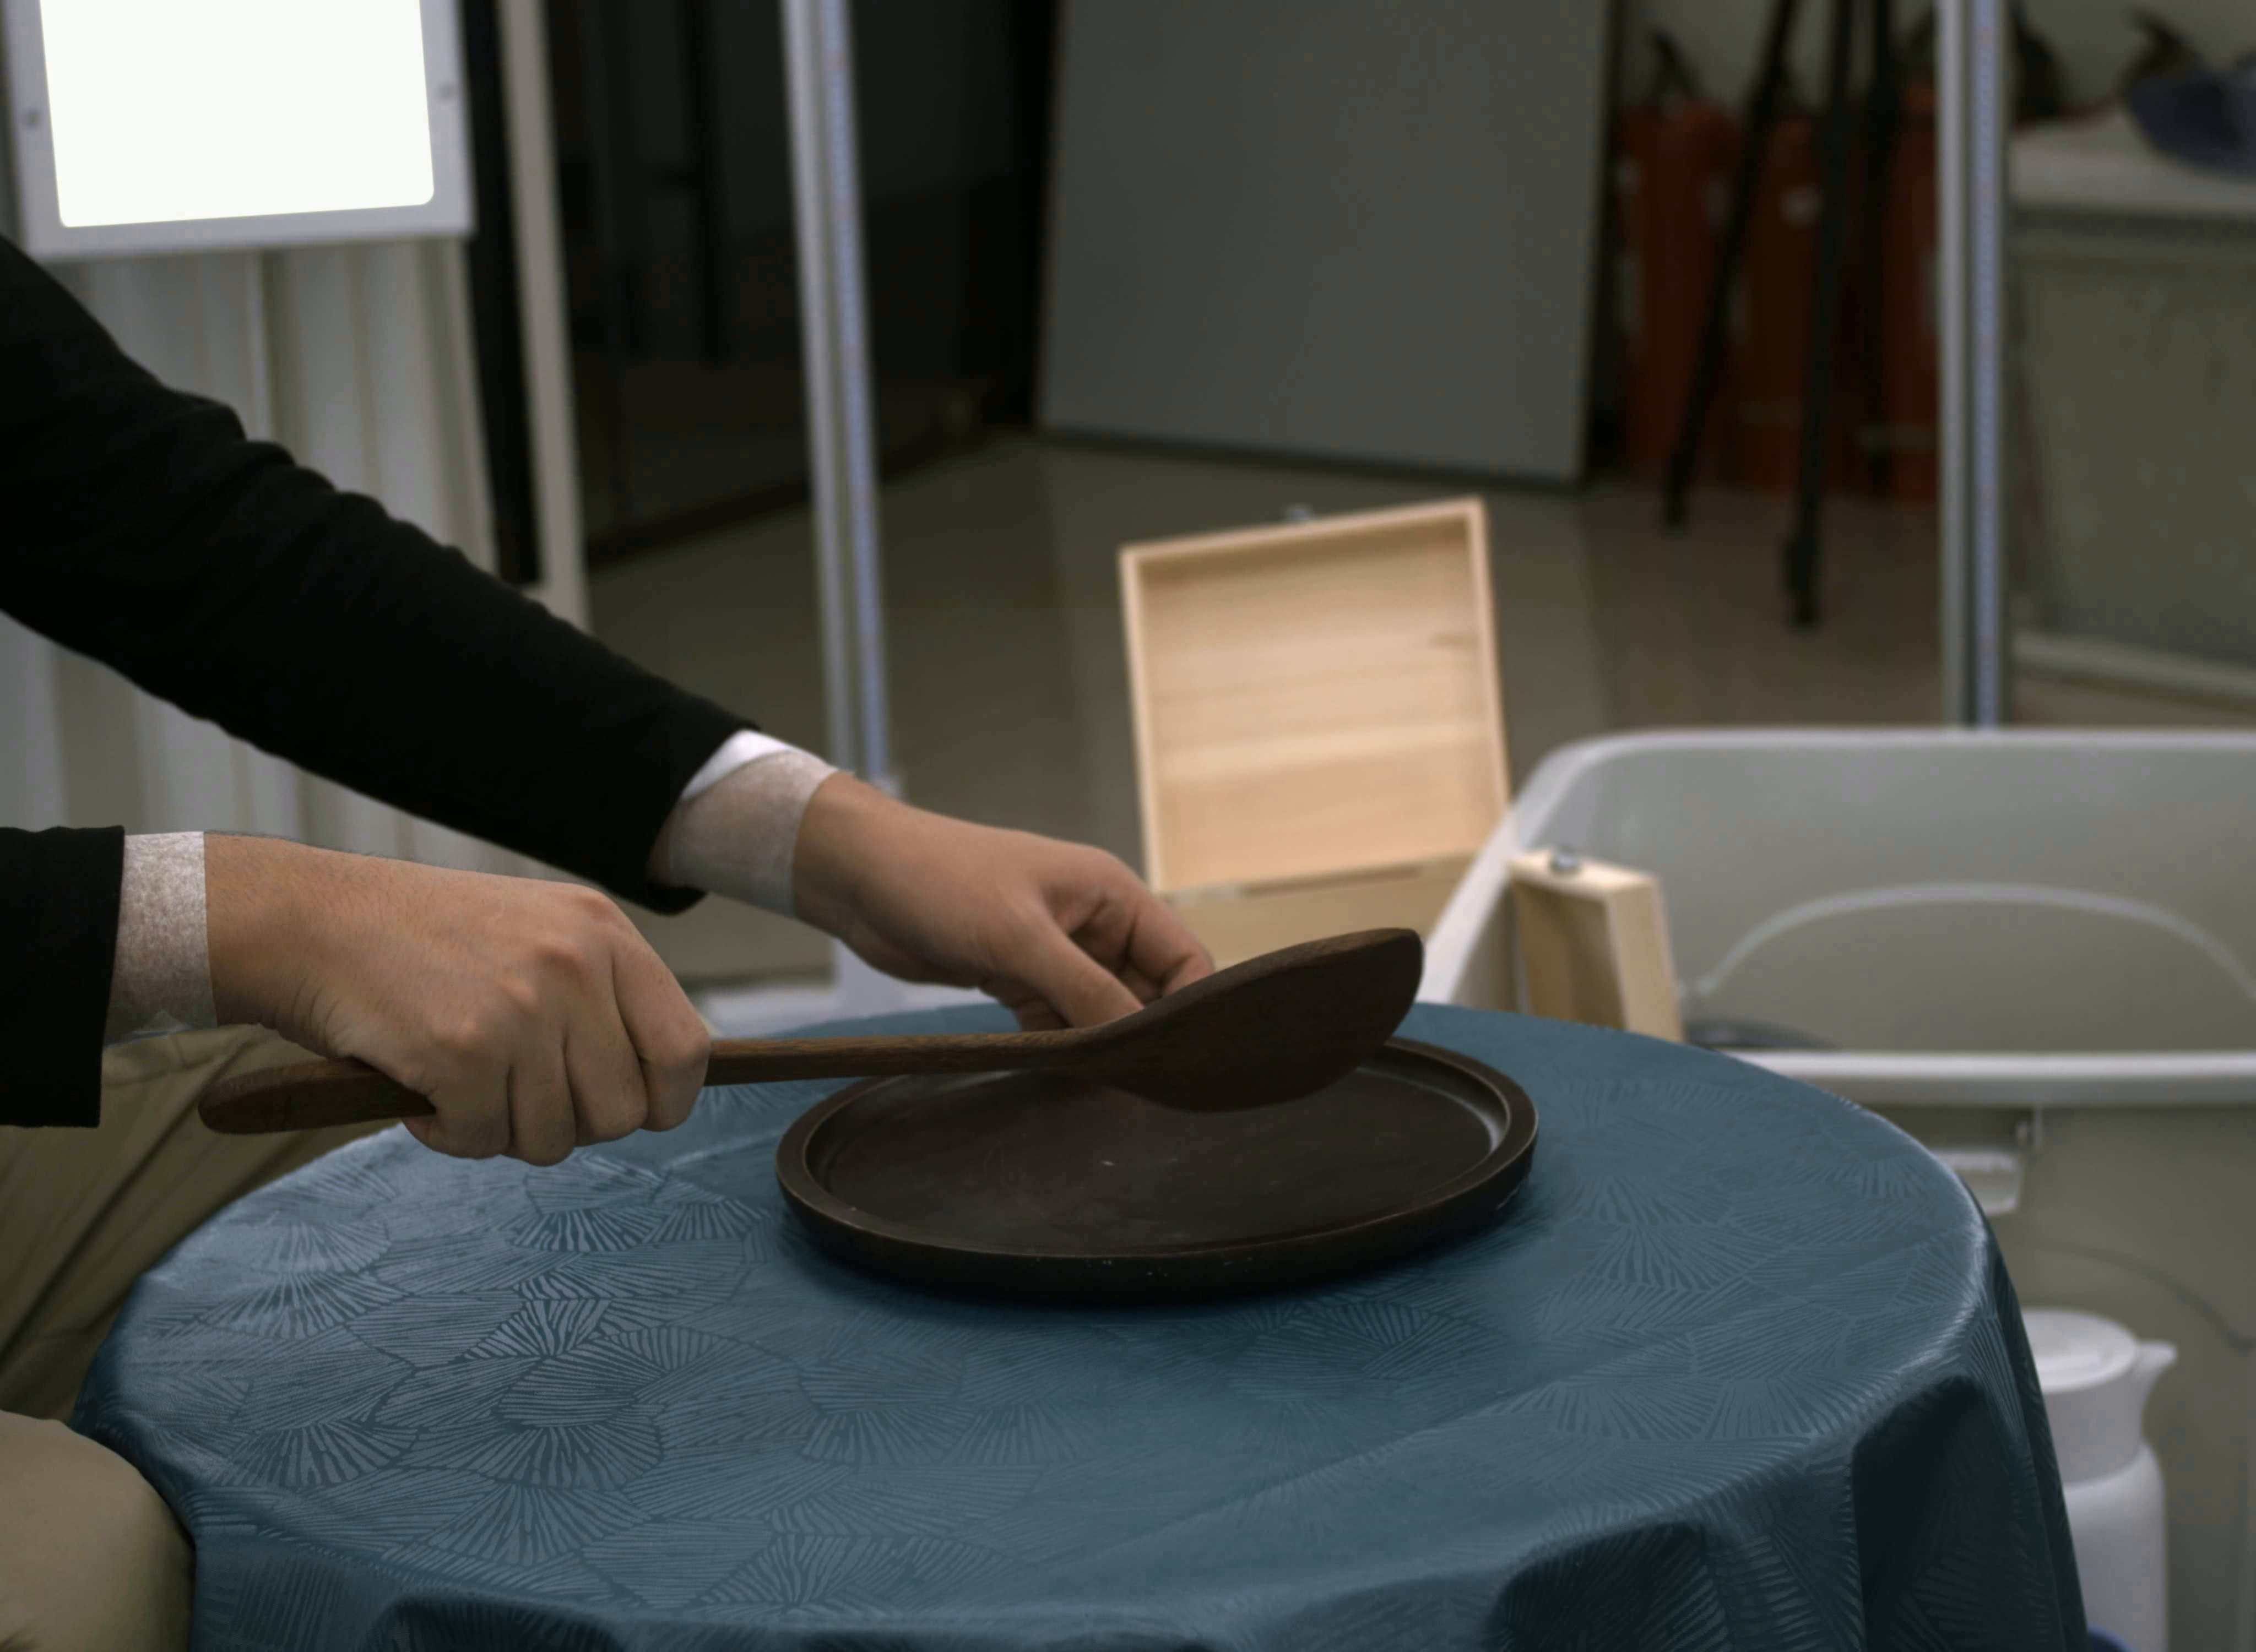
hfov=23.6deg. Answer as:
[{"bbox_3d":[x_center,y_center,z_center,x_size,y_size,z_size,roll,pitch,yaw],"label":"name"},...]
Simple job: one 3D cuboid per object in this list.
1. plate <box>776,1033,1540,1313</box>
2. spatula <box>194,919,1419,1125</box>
[{"bbox_3d":[0.010,0.110,1.762,0.251,0.029,0.255,-5,15,0],"label":"plate"},{"bbox_3d":[-0.091,0.068,1.623,0.378,0.097,0.016,-2,55,-20],"label":"spatula"}]
